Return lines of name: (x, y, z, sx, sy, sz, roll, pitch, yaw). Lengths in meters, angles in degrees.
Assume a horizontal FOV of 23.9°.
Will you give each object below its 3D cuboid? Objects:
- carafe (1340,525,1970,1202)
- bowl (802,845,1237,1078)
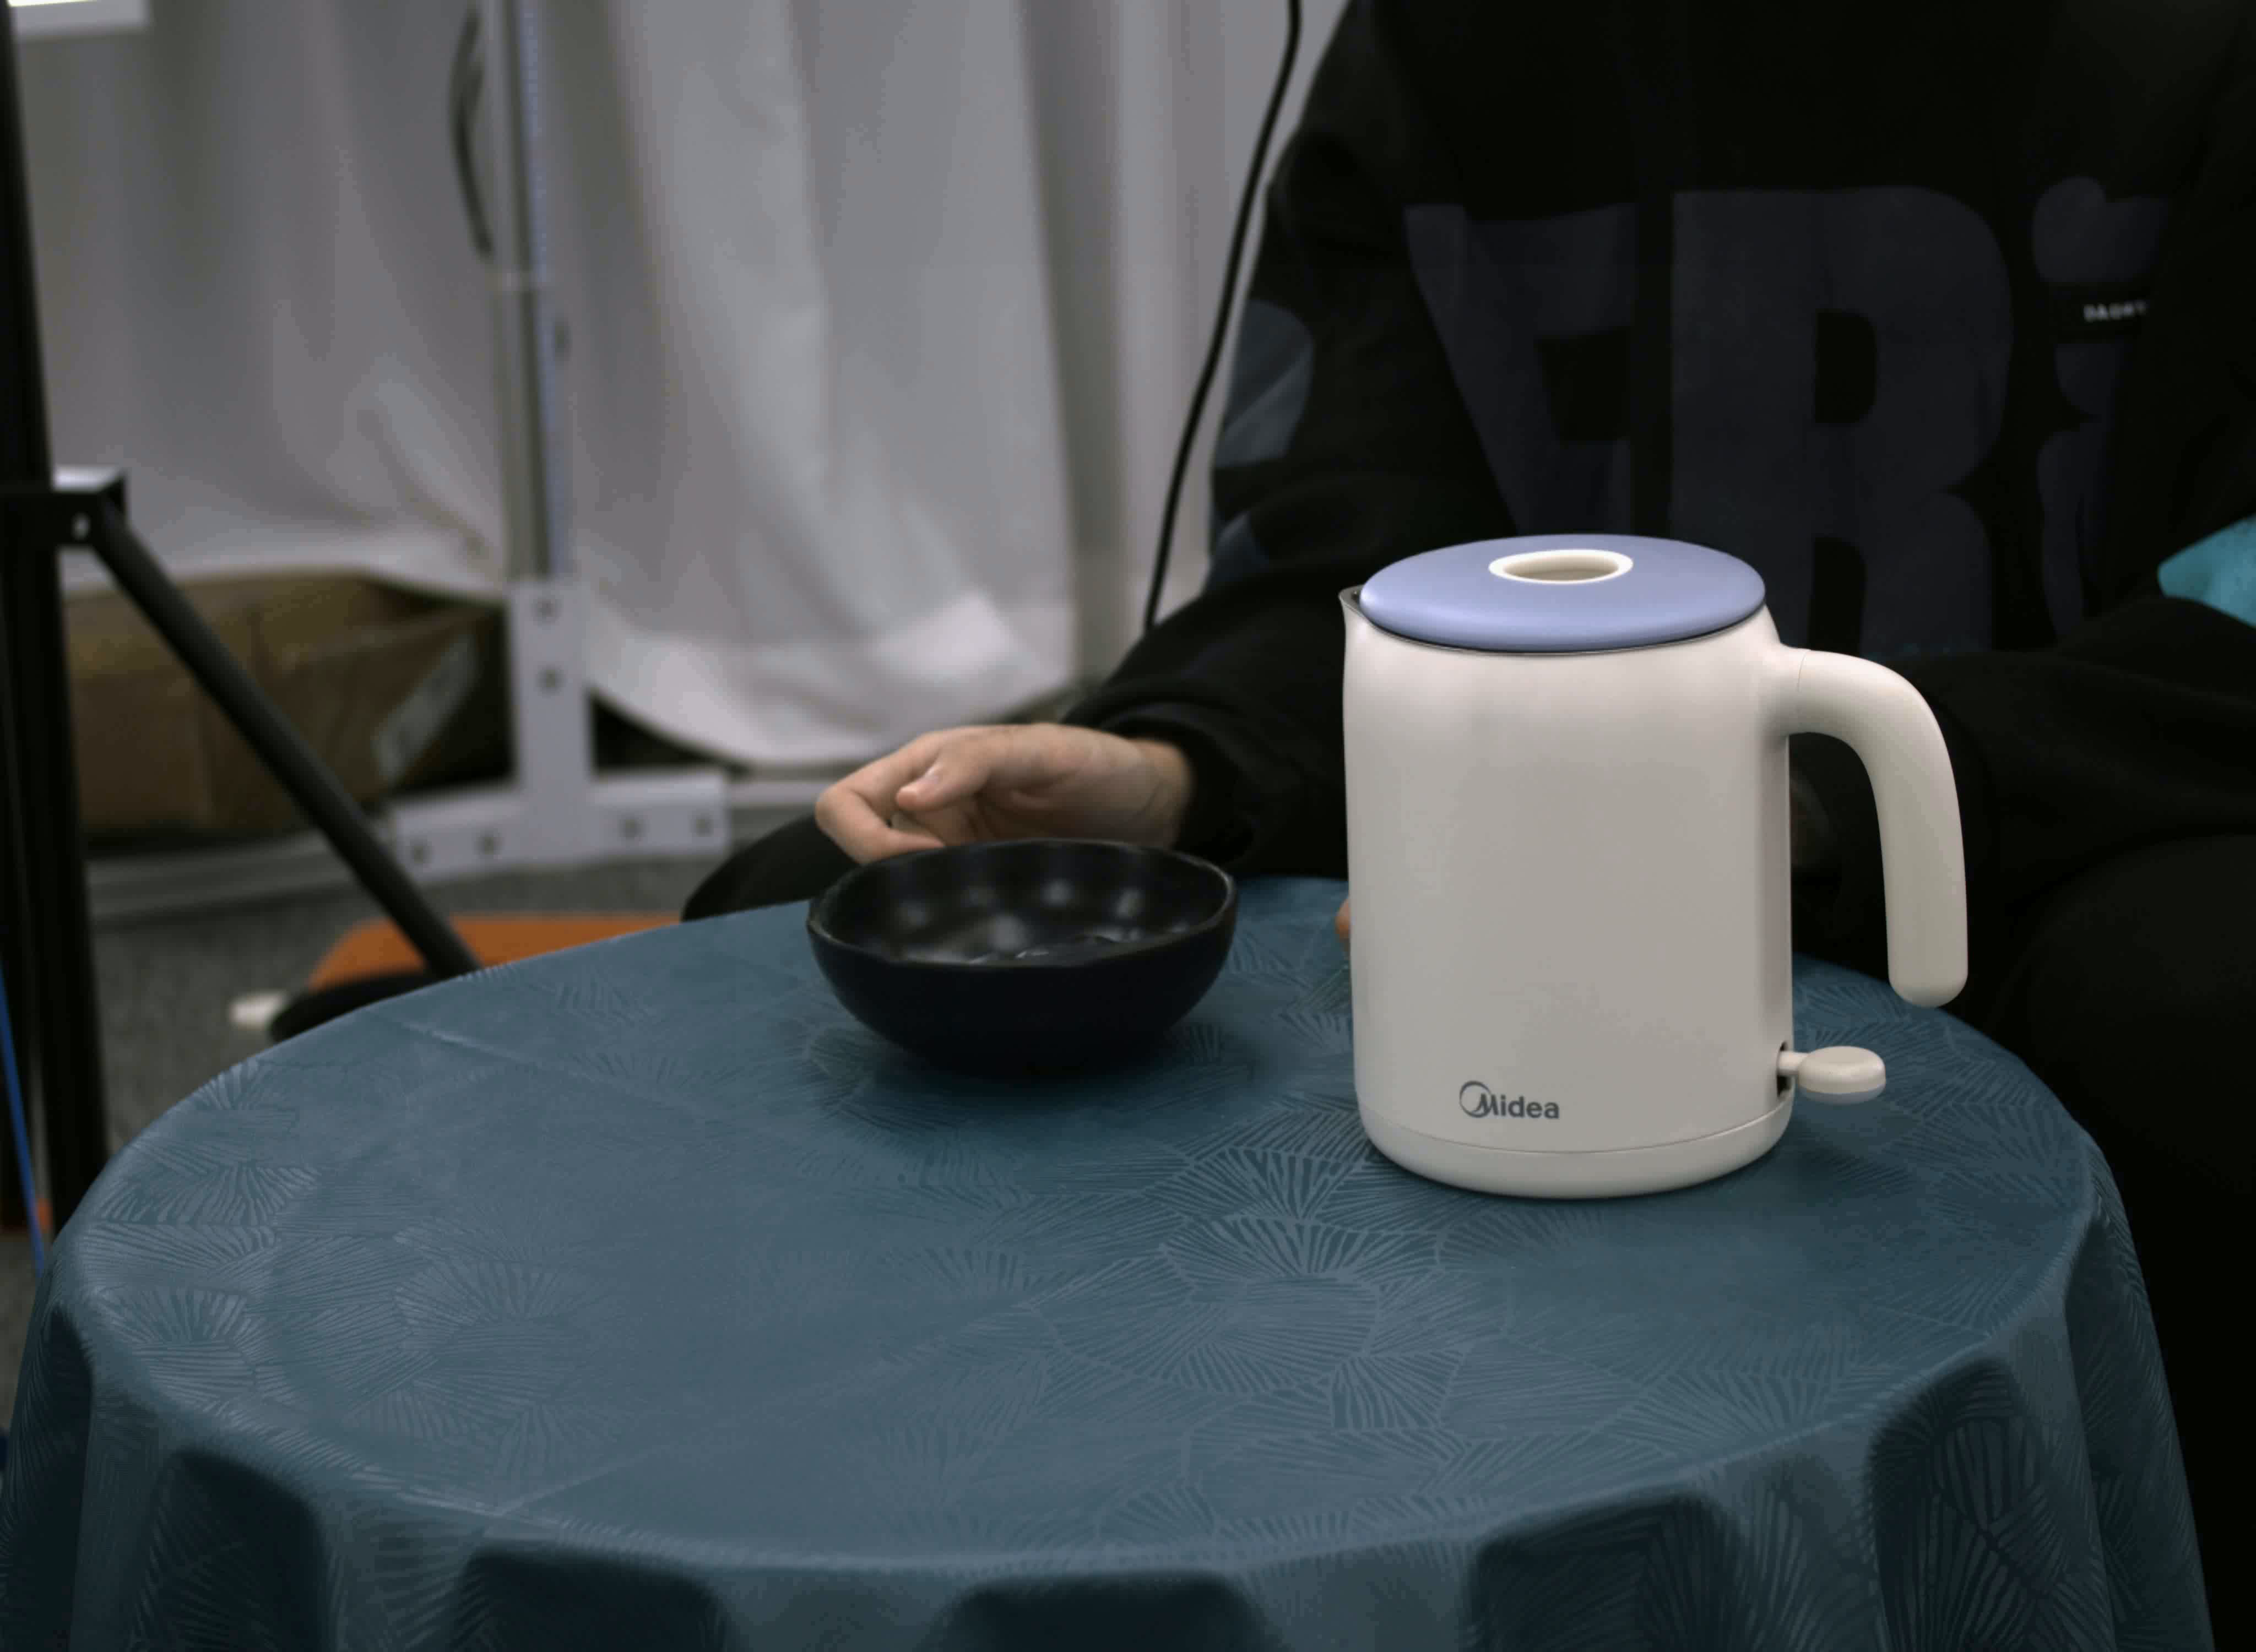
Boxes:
carafe: (0.153, 0.013, 1.556, 0.193, 0.182, 0.130, 6, 18, 21)
bowl: (-0.033, 0.047, 1.689, 0.139, 0.050, 0.140, -2, 14, -1)
